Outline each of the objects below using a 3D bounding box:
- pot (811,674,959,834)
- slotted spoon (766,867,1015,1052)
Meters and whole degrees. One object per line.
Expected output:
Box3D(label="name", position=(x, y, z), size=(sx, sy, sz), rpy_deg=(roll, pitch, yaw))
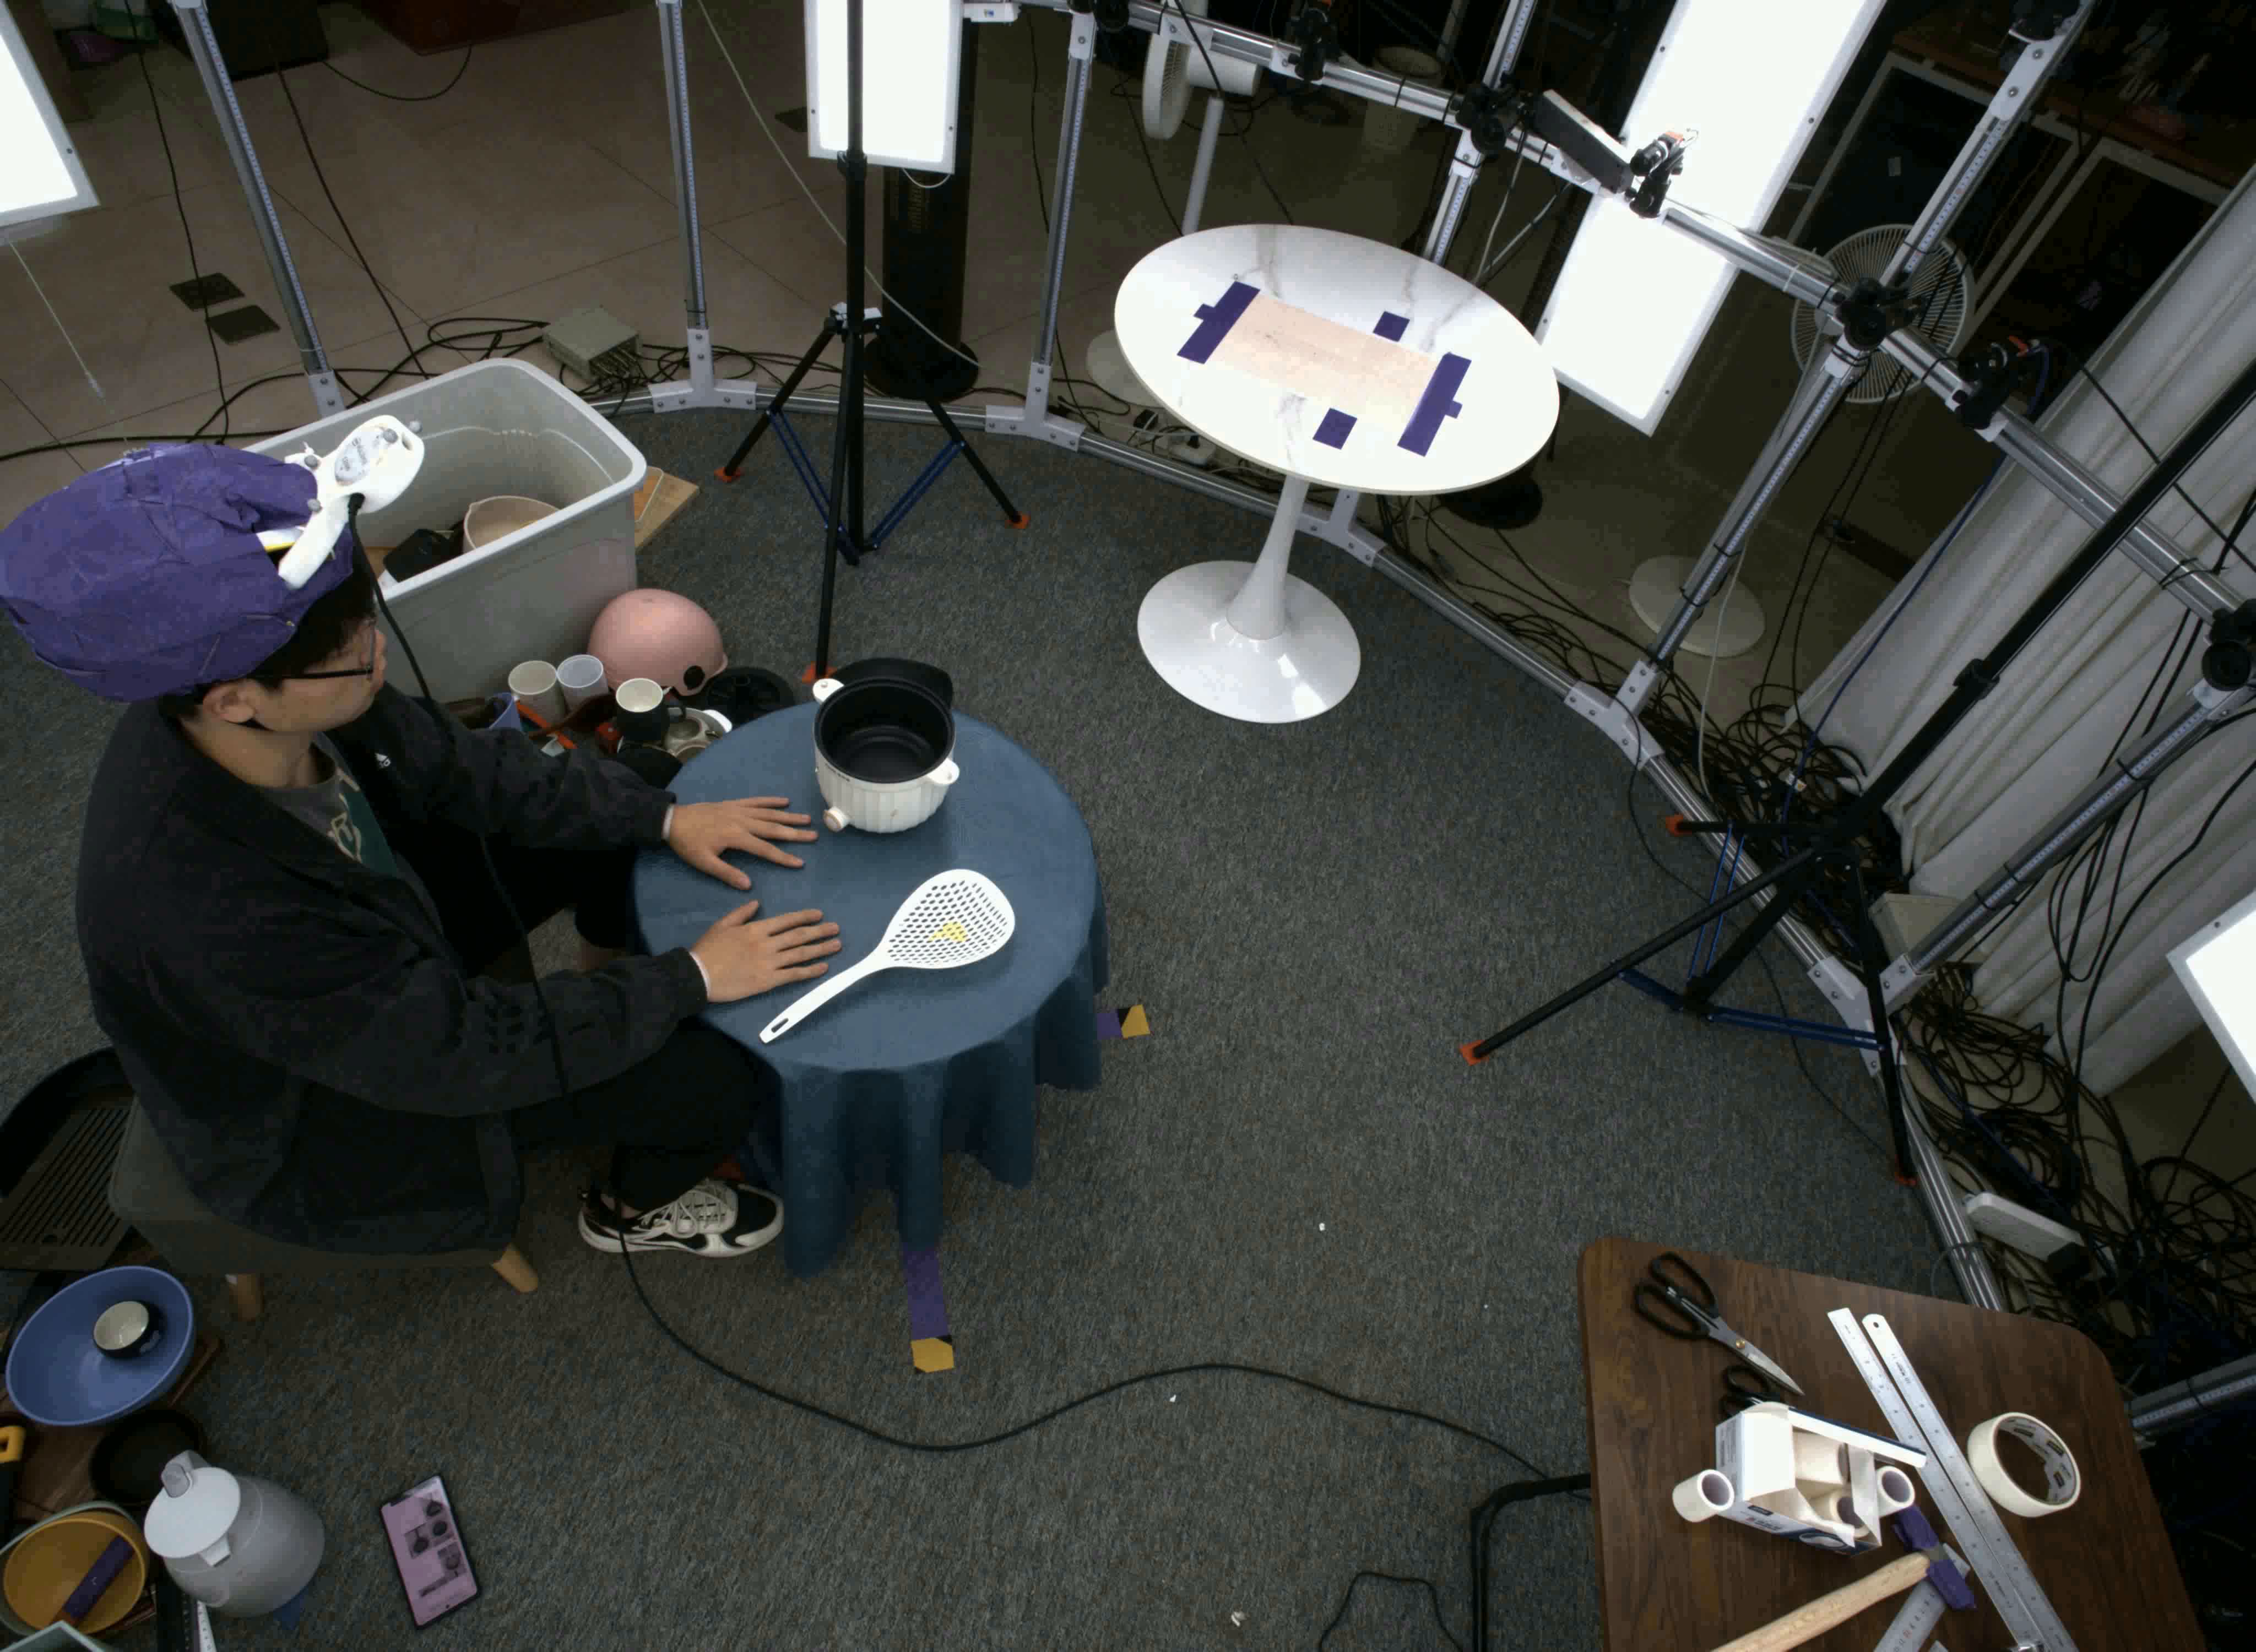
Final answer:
Box3D(label="pot", position=(-0.326, -0.084, 1.722), size=(0.235, 0.146, 0.190), rpy_deg=(33, 51, 14))
Box3D(label="slotted spoon", position=(-0.298, 0.168, 1.605), size=(0.349, 0.051, 0.134), rpy_deg=(-29, 67, -30))
